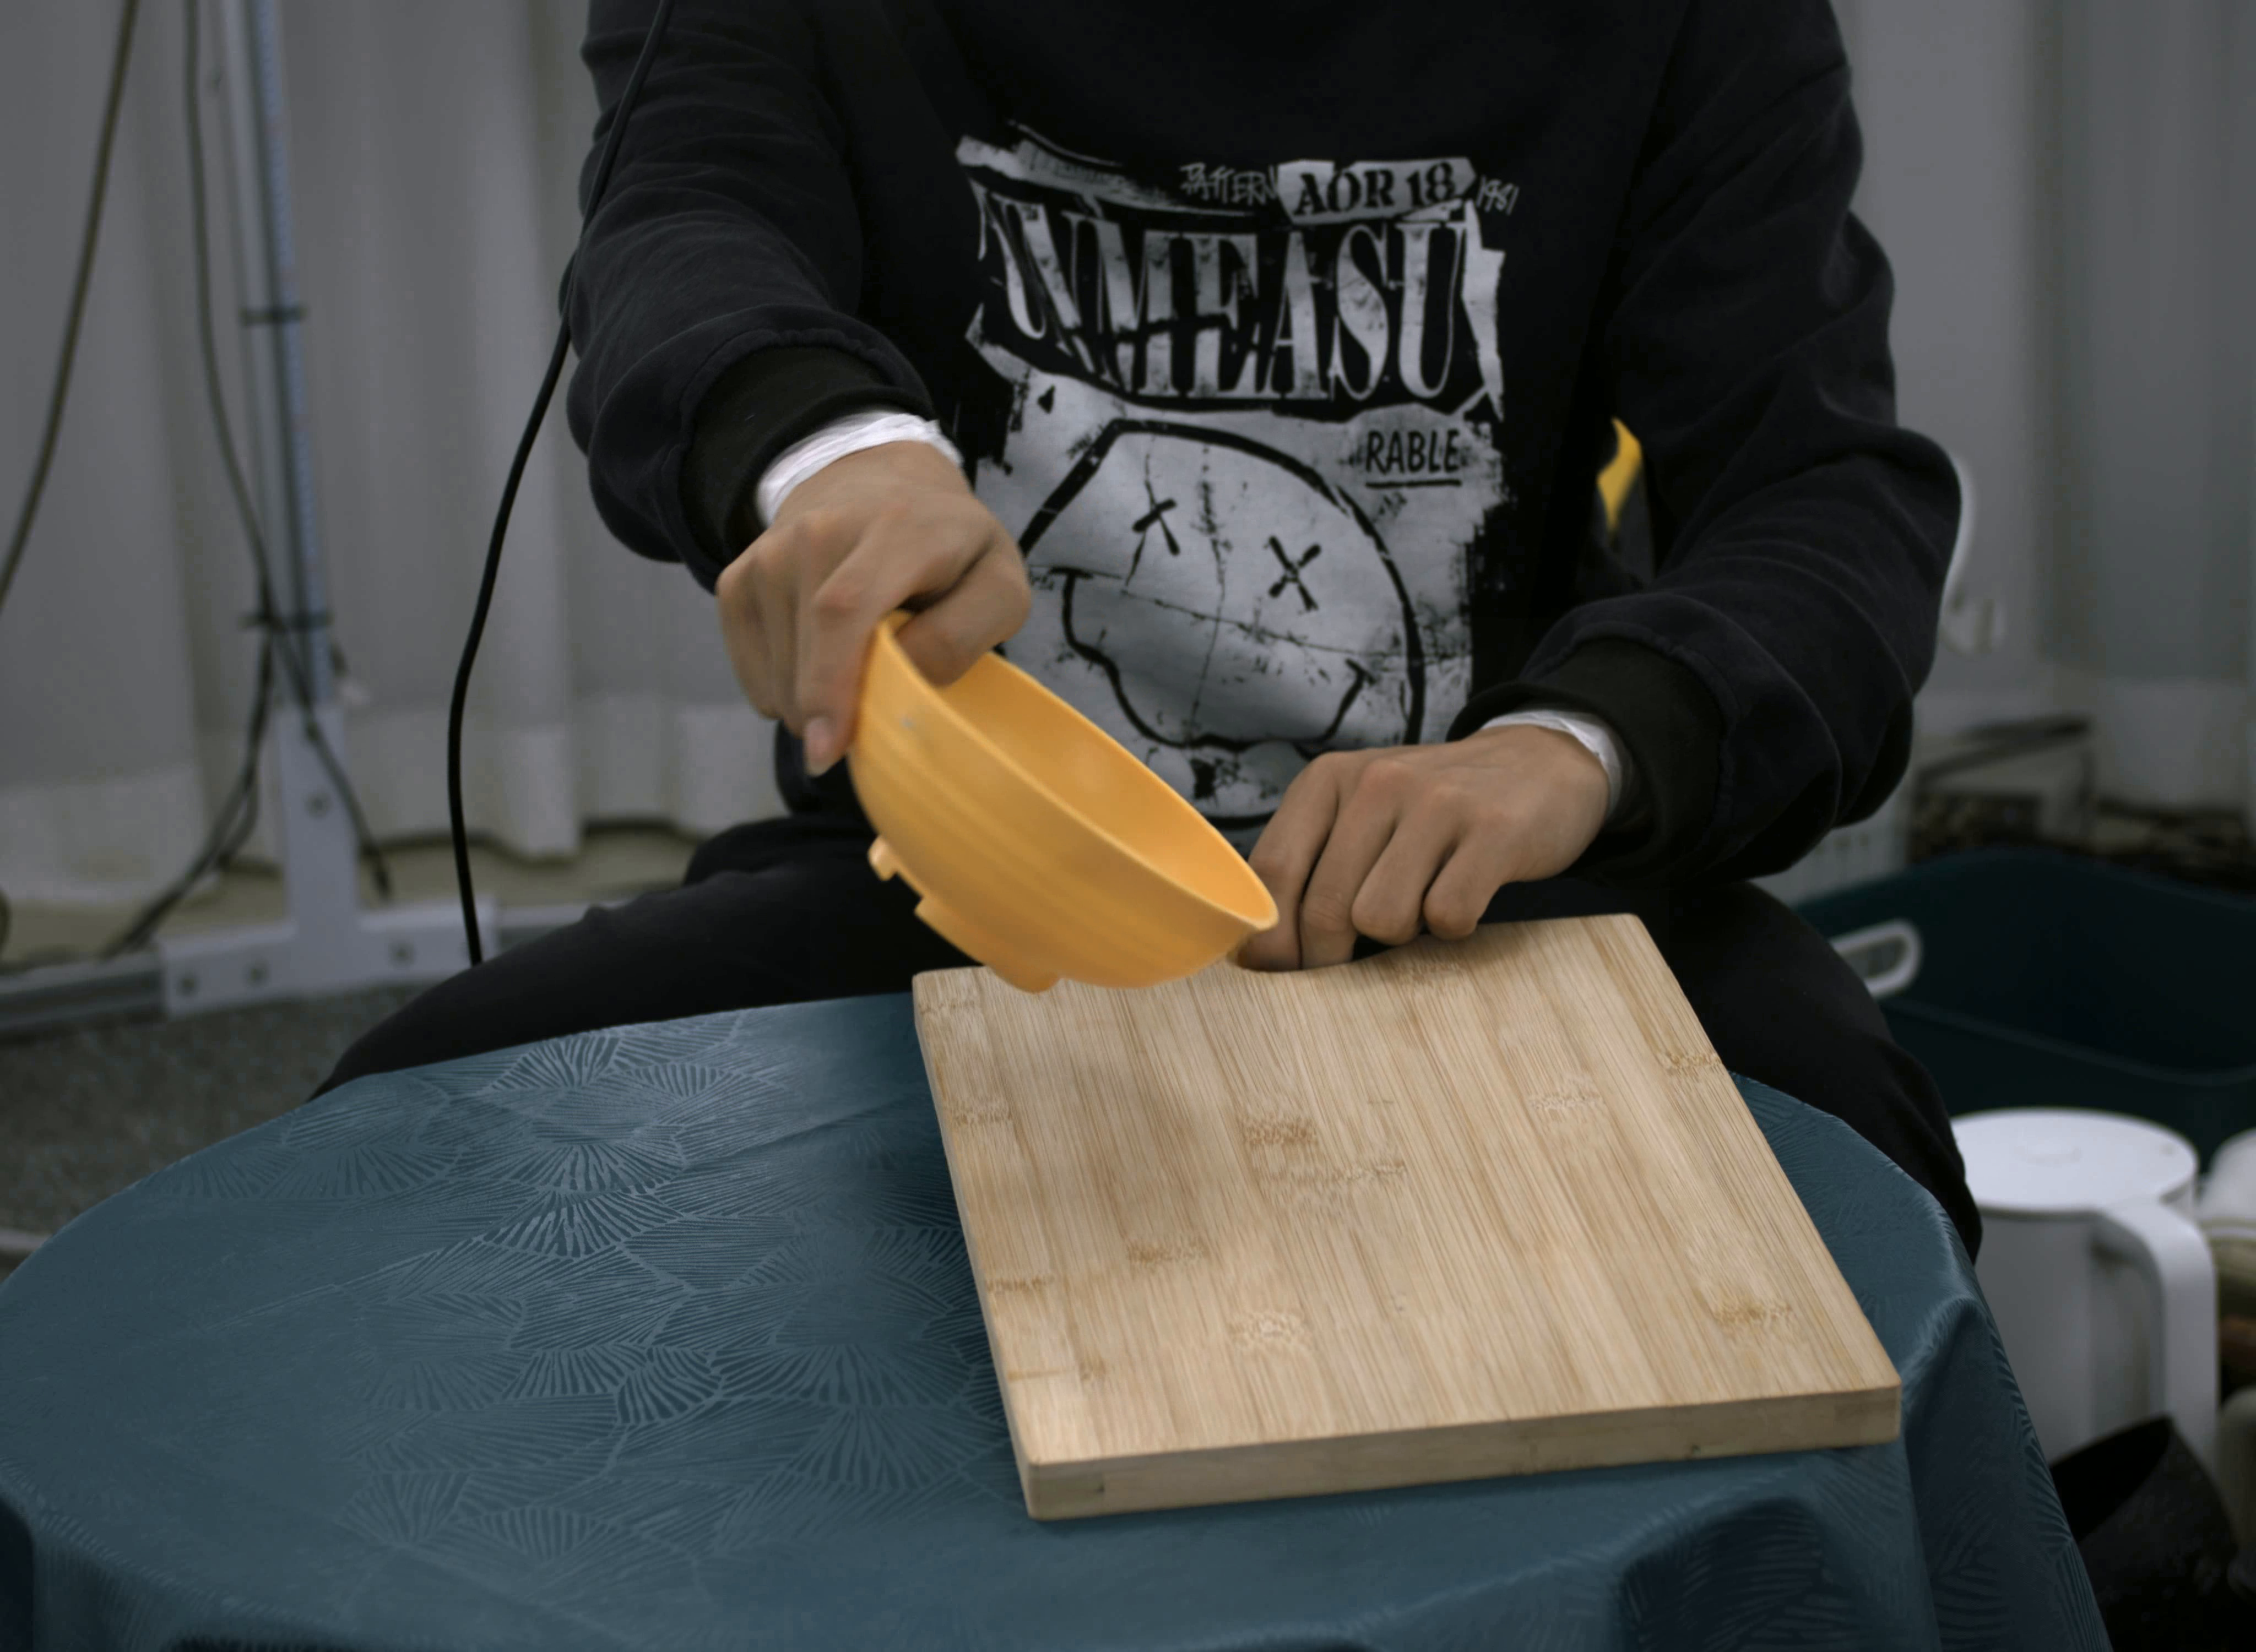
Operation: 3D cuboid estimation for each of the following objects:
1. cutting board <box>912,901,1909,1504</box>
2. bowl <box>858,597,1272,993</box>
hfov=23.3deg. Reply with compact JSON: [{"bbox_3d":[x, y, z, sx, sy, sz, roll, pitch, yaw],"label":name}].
[{"bbox_3d":[0.071,0.105,1.626,0.250,0.023,0.352,-5,22,-7],"label":"cutting board"},{"bbox_3d":[-0.030,0.004,1.573,0.145,0.060,0.146,41,7,-6],"label":"bowl"}]
